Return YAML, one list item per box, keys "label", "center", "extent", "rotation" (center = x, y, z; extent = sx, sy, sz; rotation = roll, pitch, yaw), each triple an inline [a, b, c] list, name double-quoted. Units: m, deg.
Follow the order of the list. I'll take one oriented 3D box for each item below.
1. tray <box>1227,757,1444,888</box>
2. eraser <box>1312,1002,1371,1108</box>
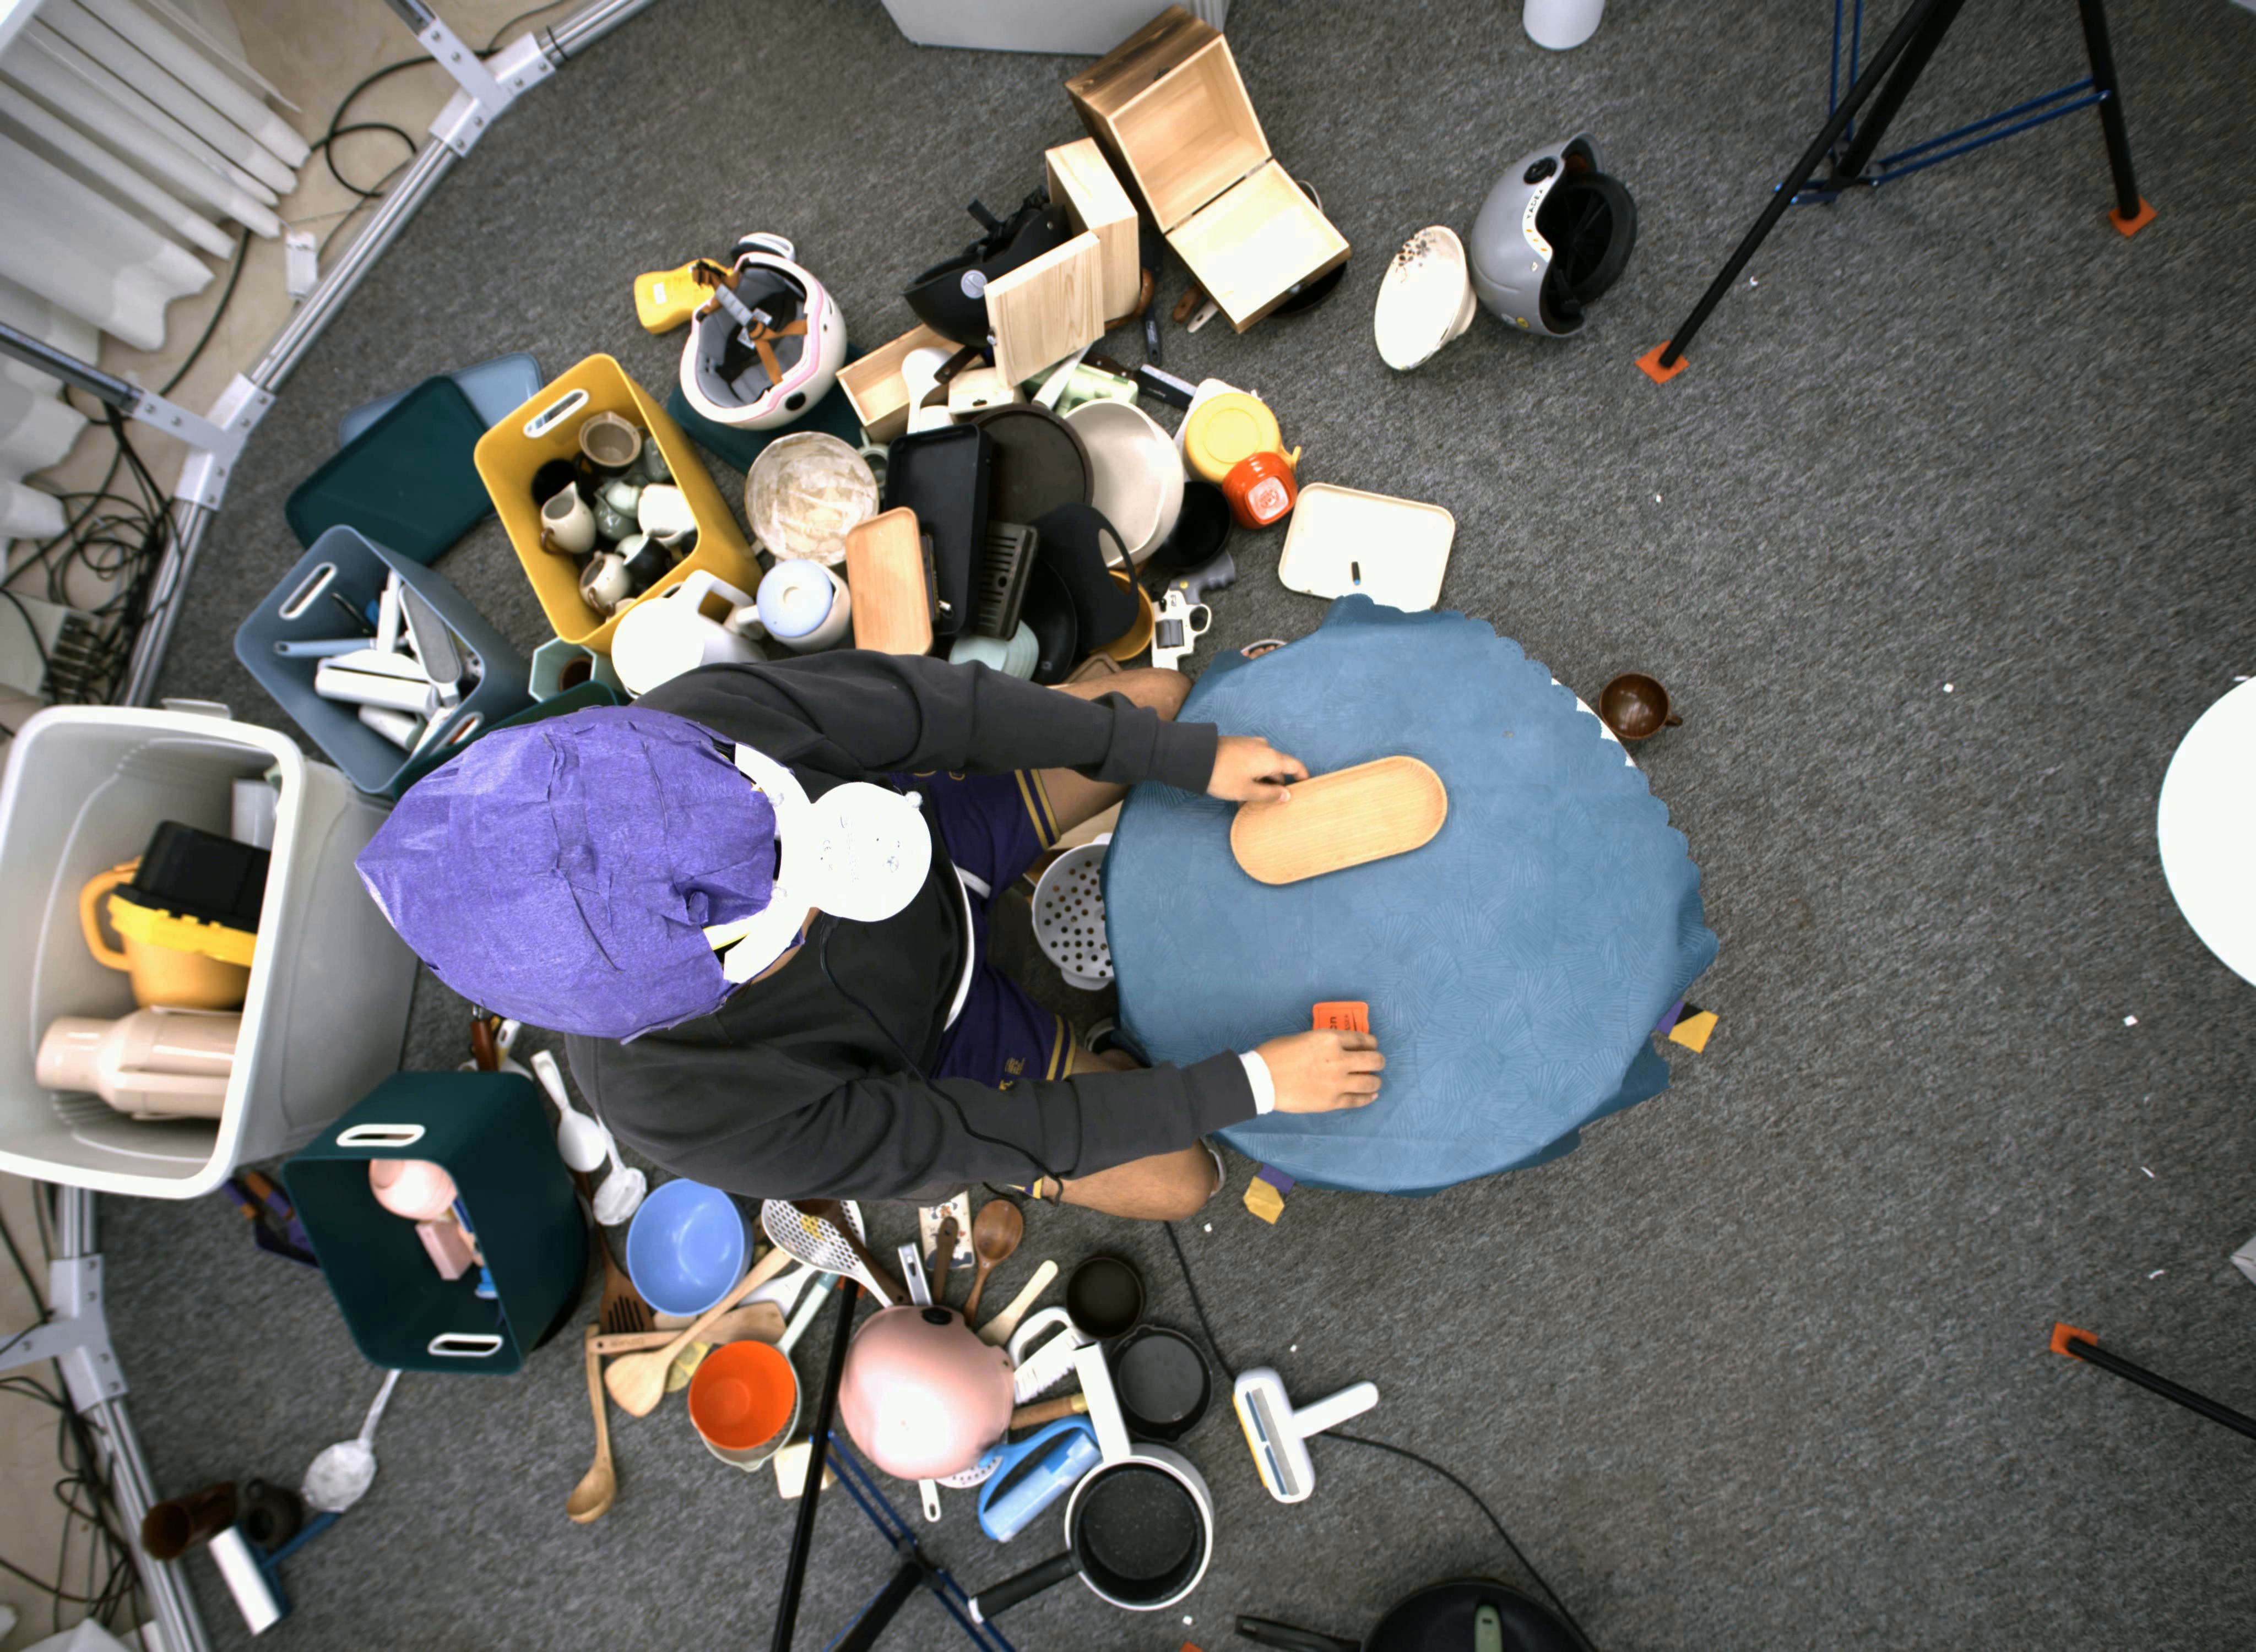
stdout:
- label: "tray"
  center: [0.218, -0.005, 1.457]
  extent: [0.232, 0.020, 0.102]
  rotation: [-17, 93, 10]
- label: "eraser"
  center: [0.221, 0.236, 1.436]
  extent: [0.059, 0.023, 0.107]
  rotation: [2, 81, 0]
